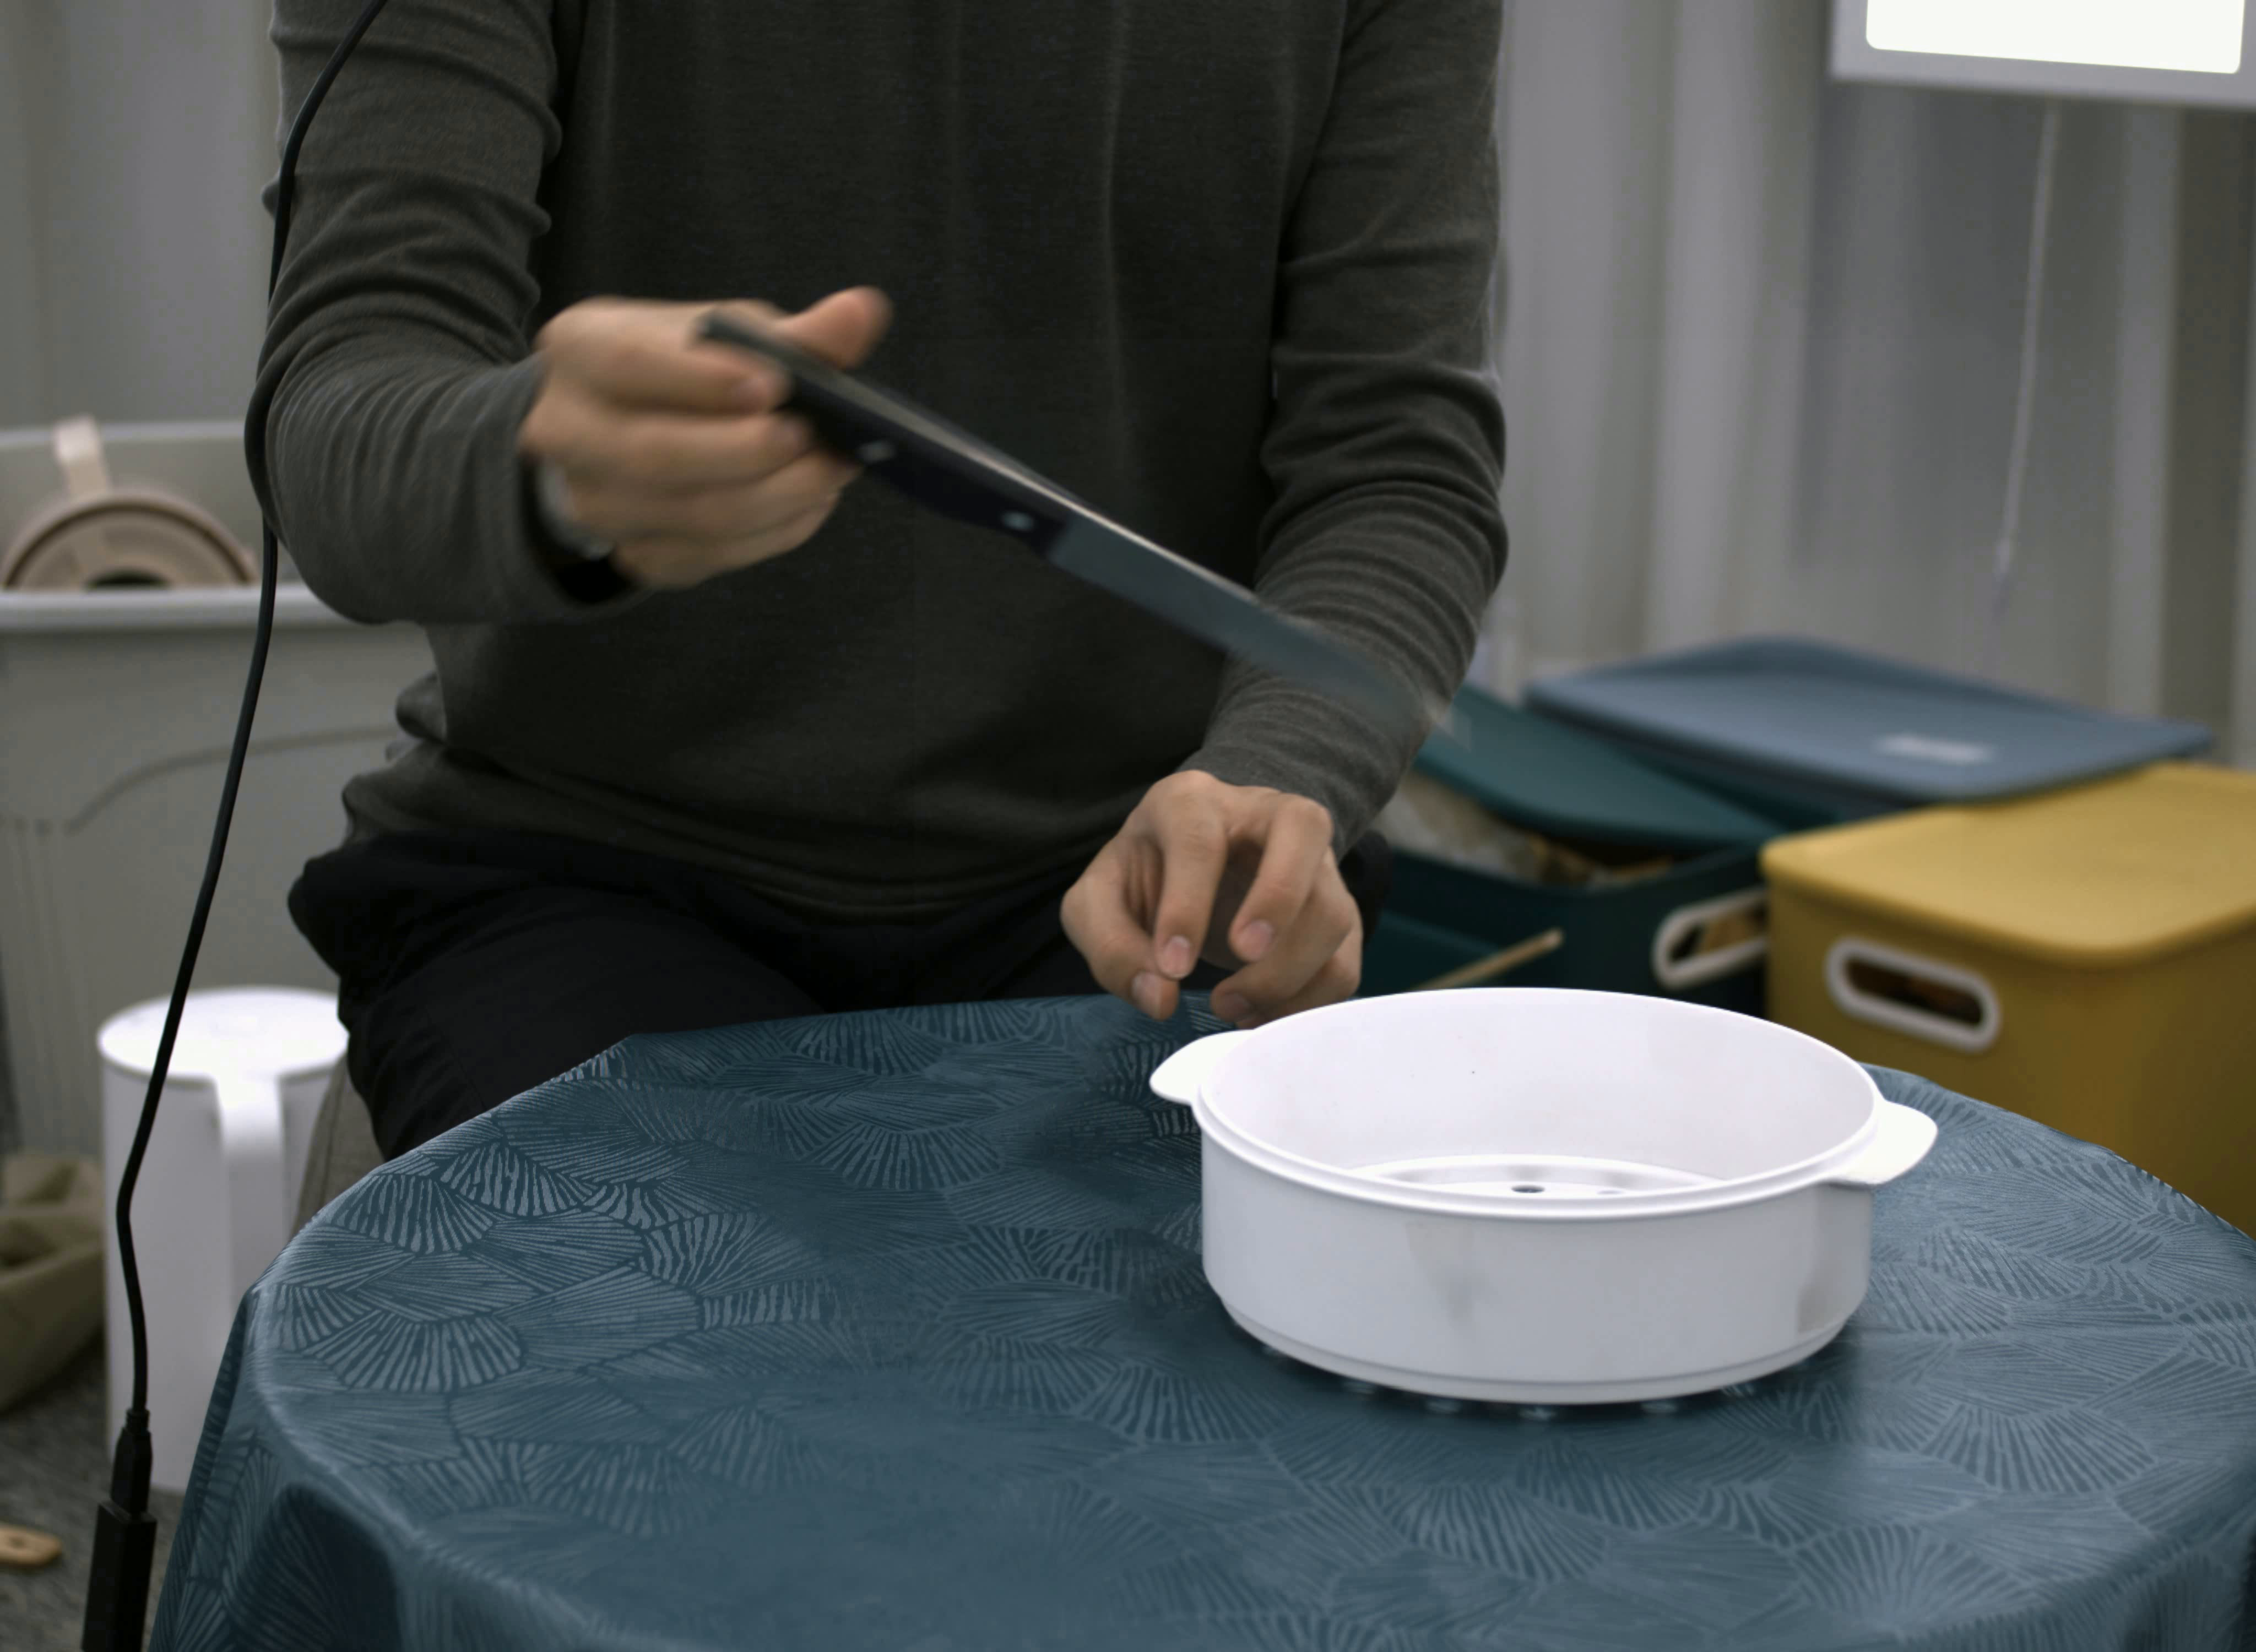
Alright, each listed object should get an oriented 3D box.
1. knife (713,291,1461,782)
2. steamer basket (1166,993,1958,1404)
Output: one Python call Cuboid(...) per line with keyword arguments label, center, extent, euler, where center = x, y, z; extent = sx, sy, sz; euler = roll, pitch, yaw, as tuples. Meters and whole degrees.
Cuboid(label="knife", center=(-0.006, -0.076, 1.410), extent=(0.239, 0.024, 0.016), euler=(32, 42, -13))
Cuboid(label="steamer basket", center=(0.123, 0.106, 1.522), extent=(0.228, 0.070, 0.202), euler=(6, 16, 21))
